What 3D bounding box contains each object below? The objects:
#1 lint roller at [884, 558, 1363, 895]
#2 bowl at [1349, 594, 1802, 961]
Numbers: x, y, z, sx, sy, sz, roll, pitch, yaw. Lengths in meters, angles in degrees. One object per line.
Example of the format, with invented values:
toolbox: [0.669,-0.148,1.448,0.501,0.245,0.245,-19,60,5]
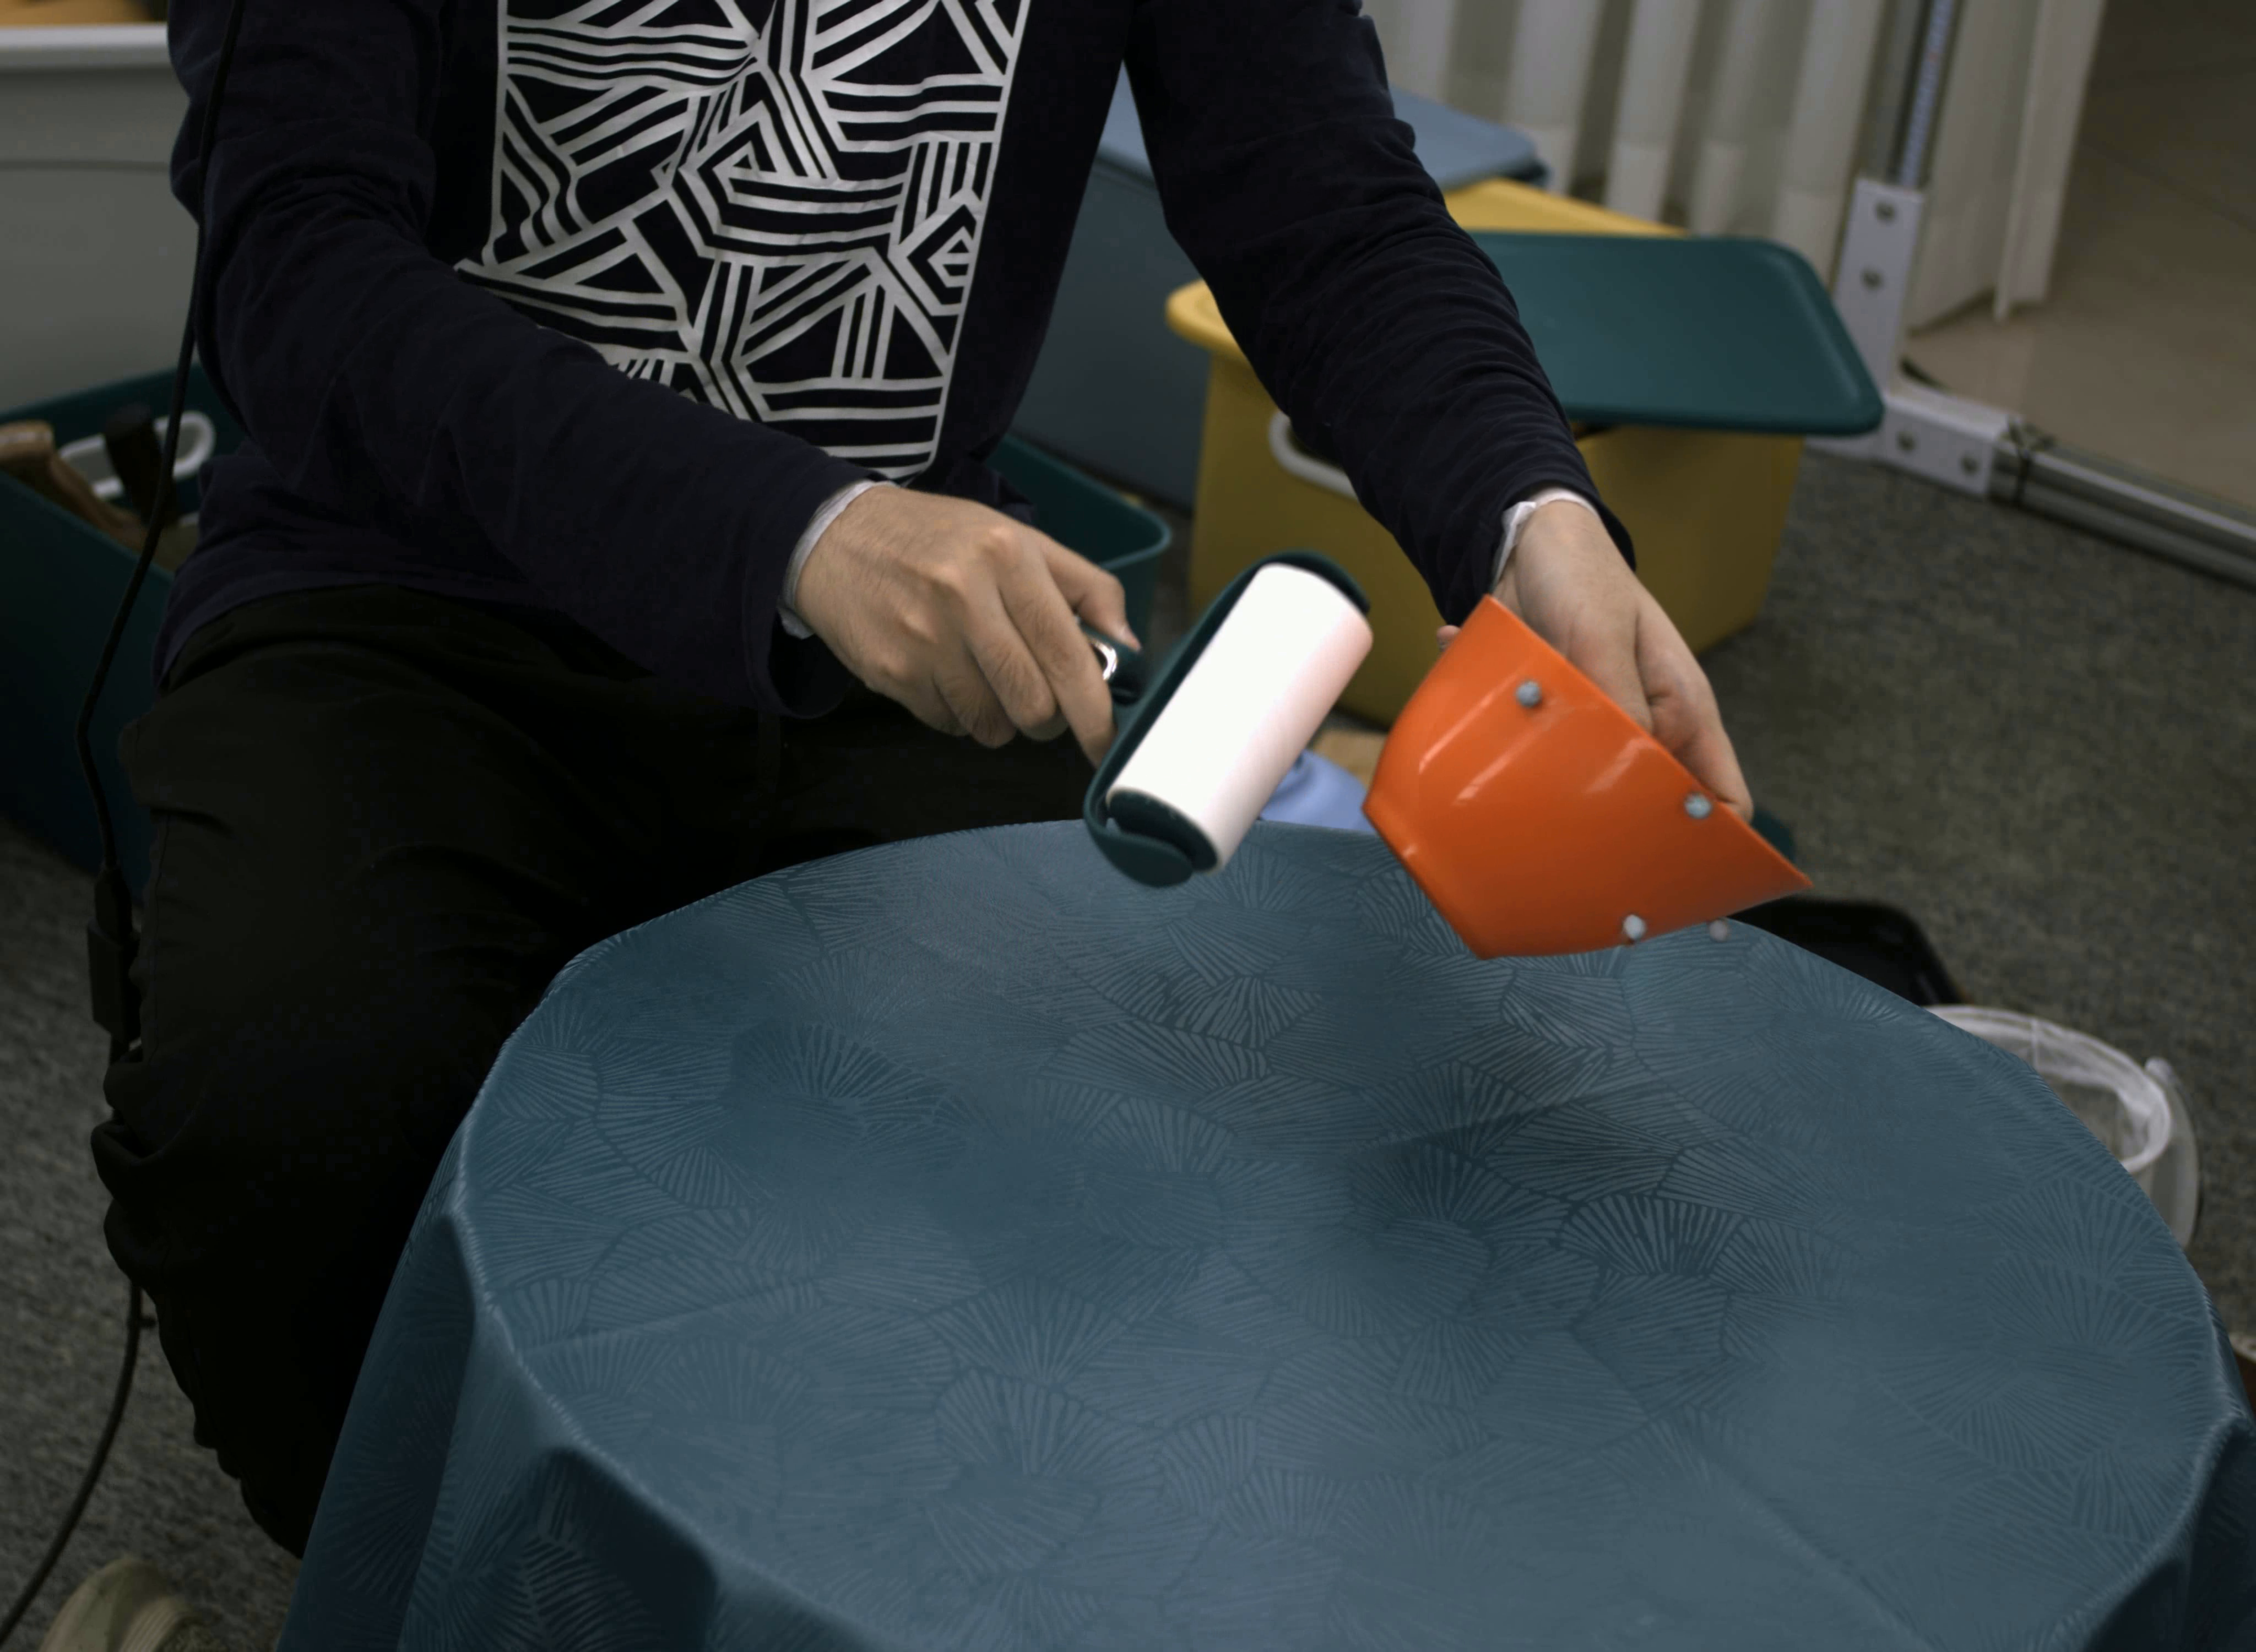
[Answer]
lint roller: [-0.018,-0.054,1.847,0.181,0.048,0.134,20,64,31]
bowl: [0.142,-0.003,1.808,0.104,0.147,0.149,-39,37,-1]
